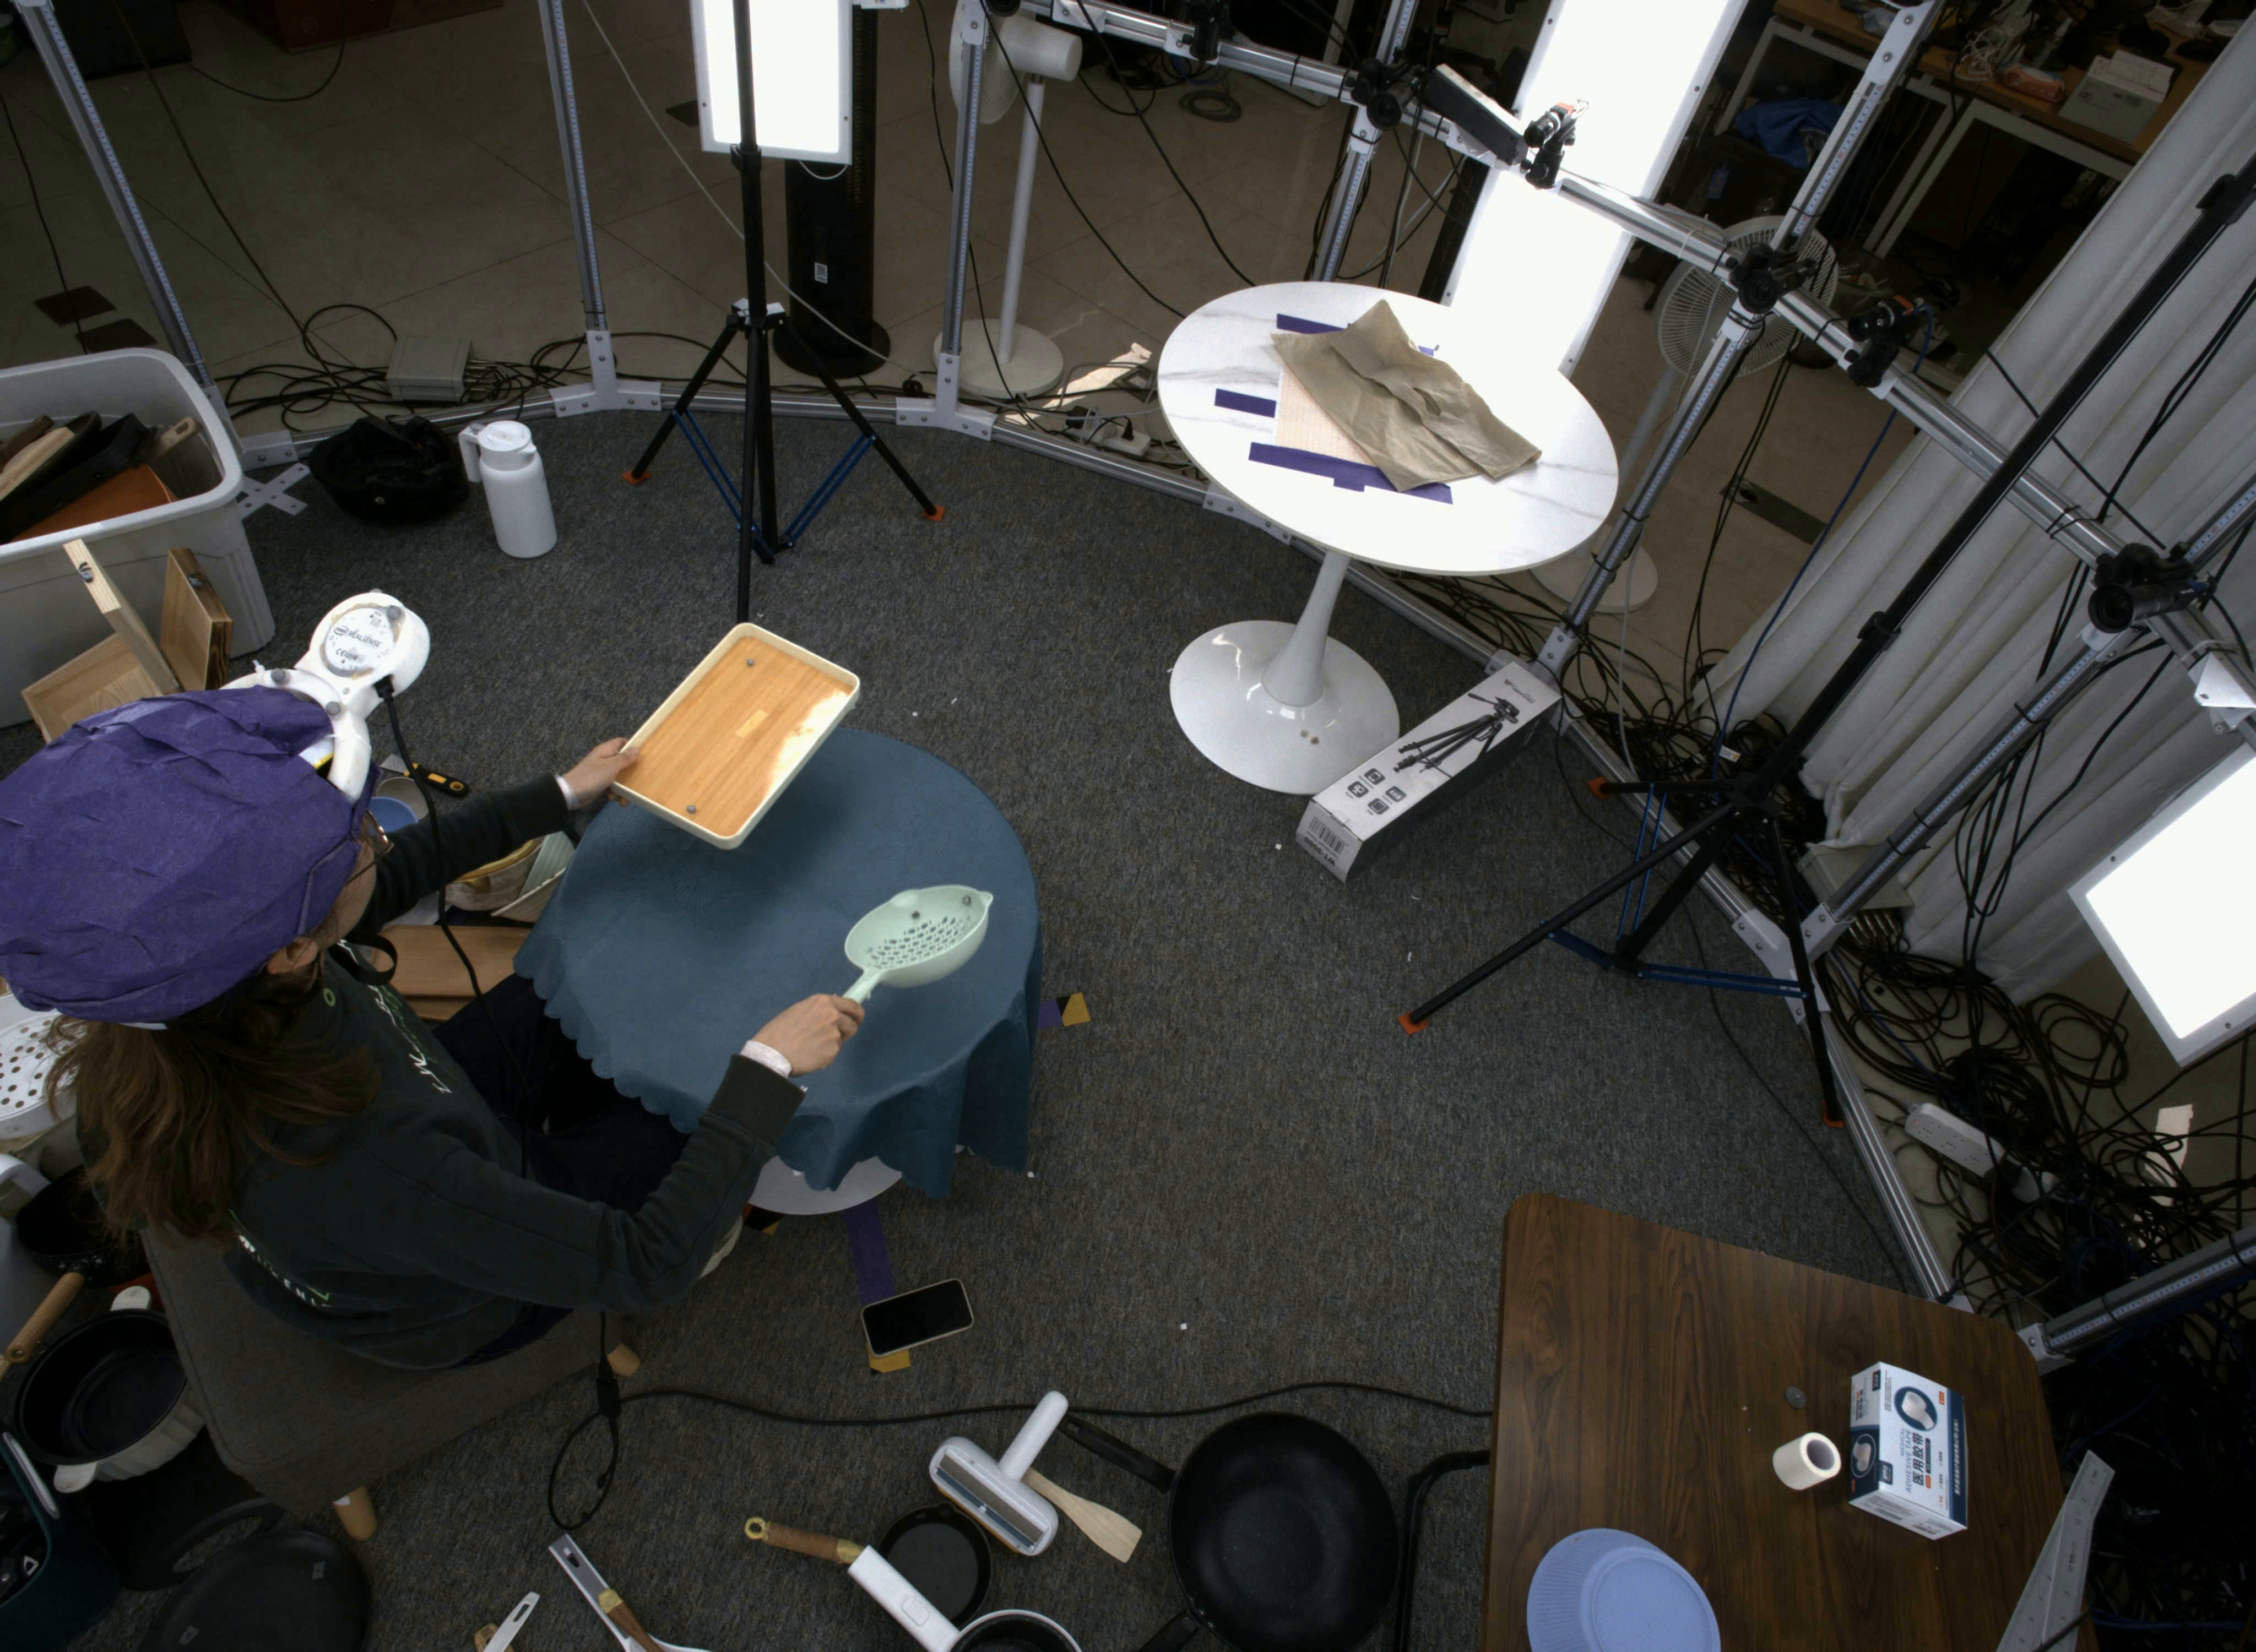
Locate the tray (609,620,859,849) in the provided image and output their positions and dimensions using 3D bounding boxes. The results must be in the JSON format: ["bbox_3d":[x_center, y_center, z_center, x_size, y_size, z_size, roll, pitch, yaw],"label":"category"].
[{"bbox_3d":[-0.492,-0.122,1.620,0.189,0.028,0.298,28,56,4],"label":"tray"}]

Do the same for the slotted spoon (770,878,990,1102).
[{"bbox_3d":[-0.279,0.165,1.412,0.164,0.077,0.359,-1,23,29],"label":"slotted spoon"}]
